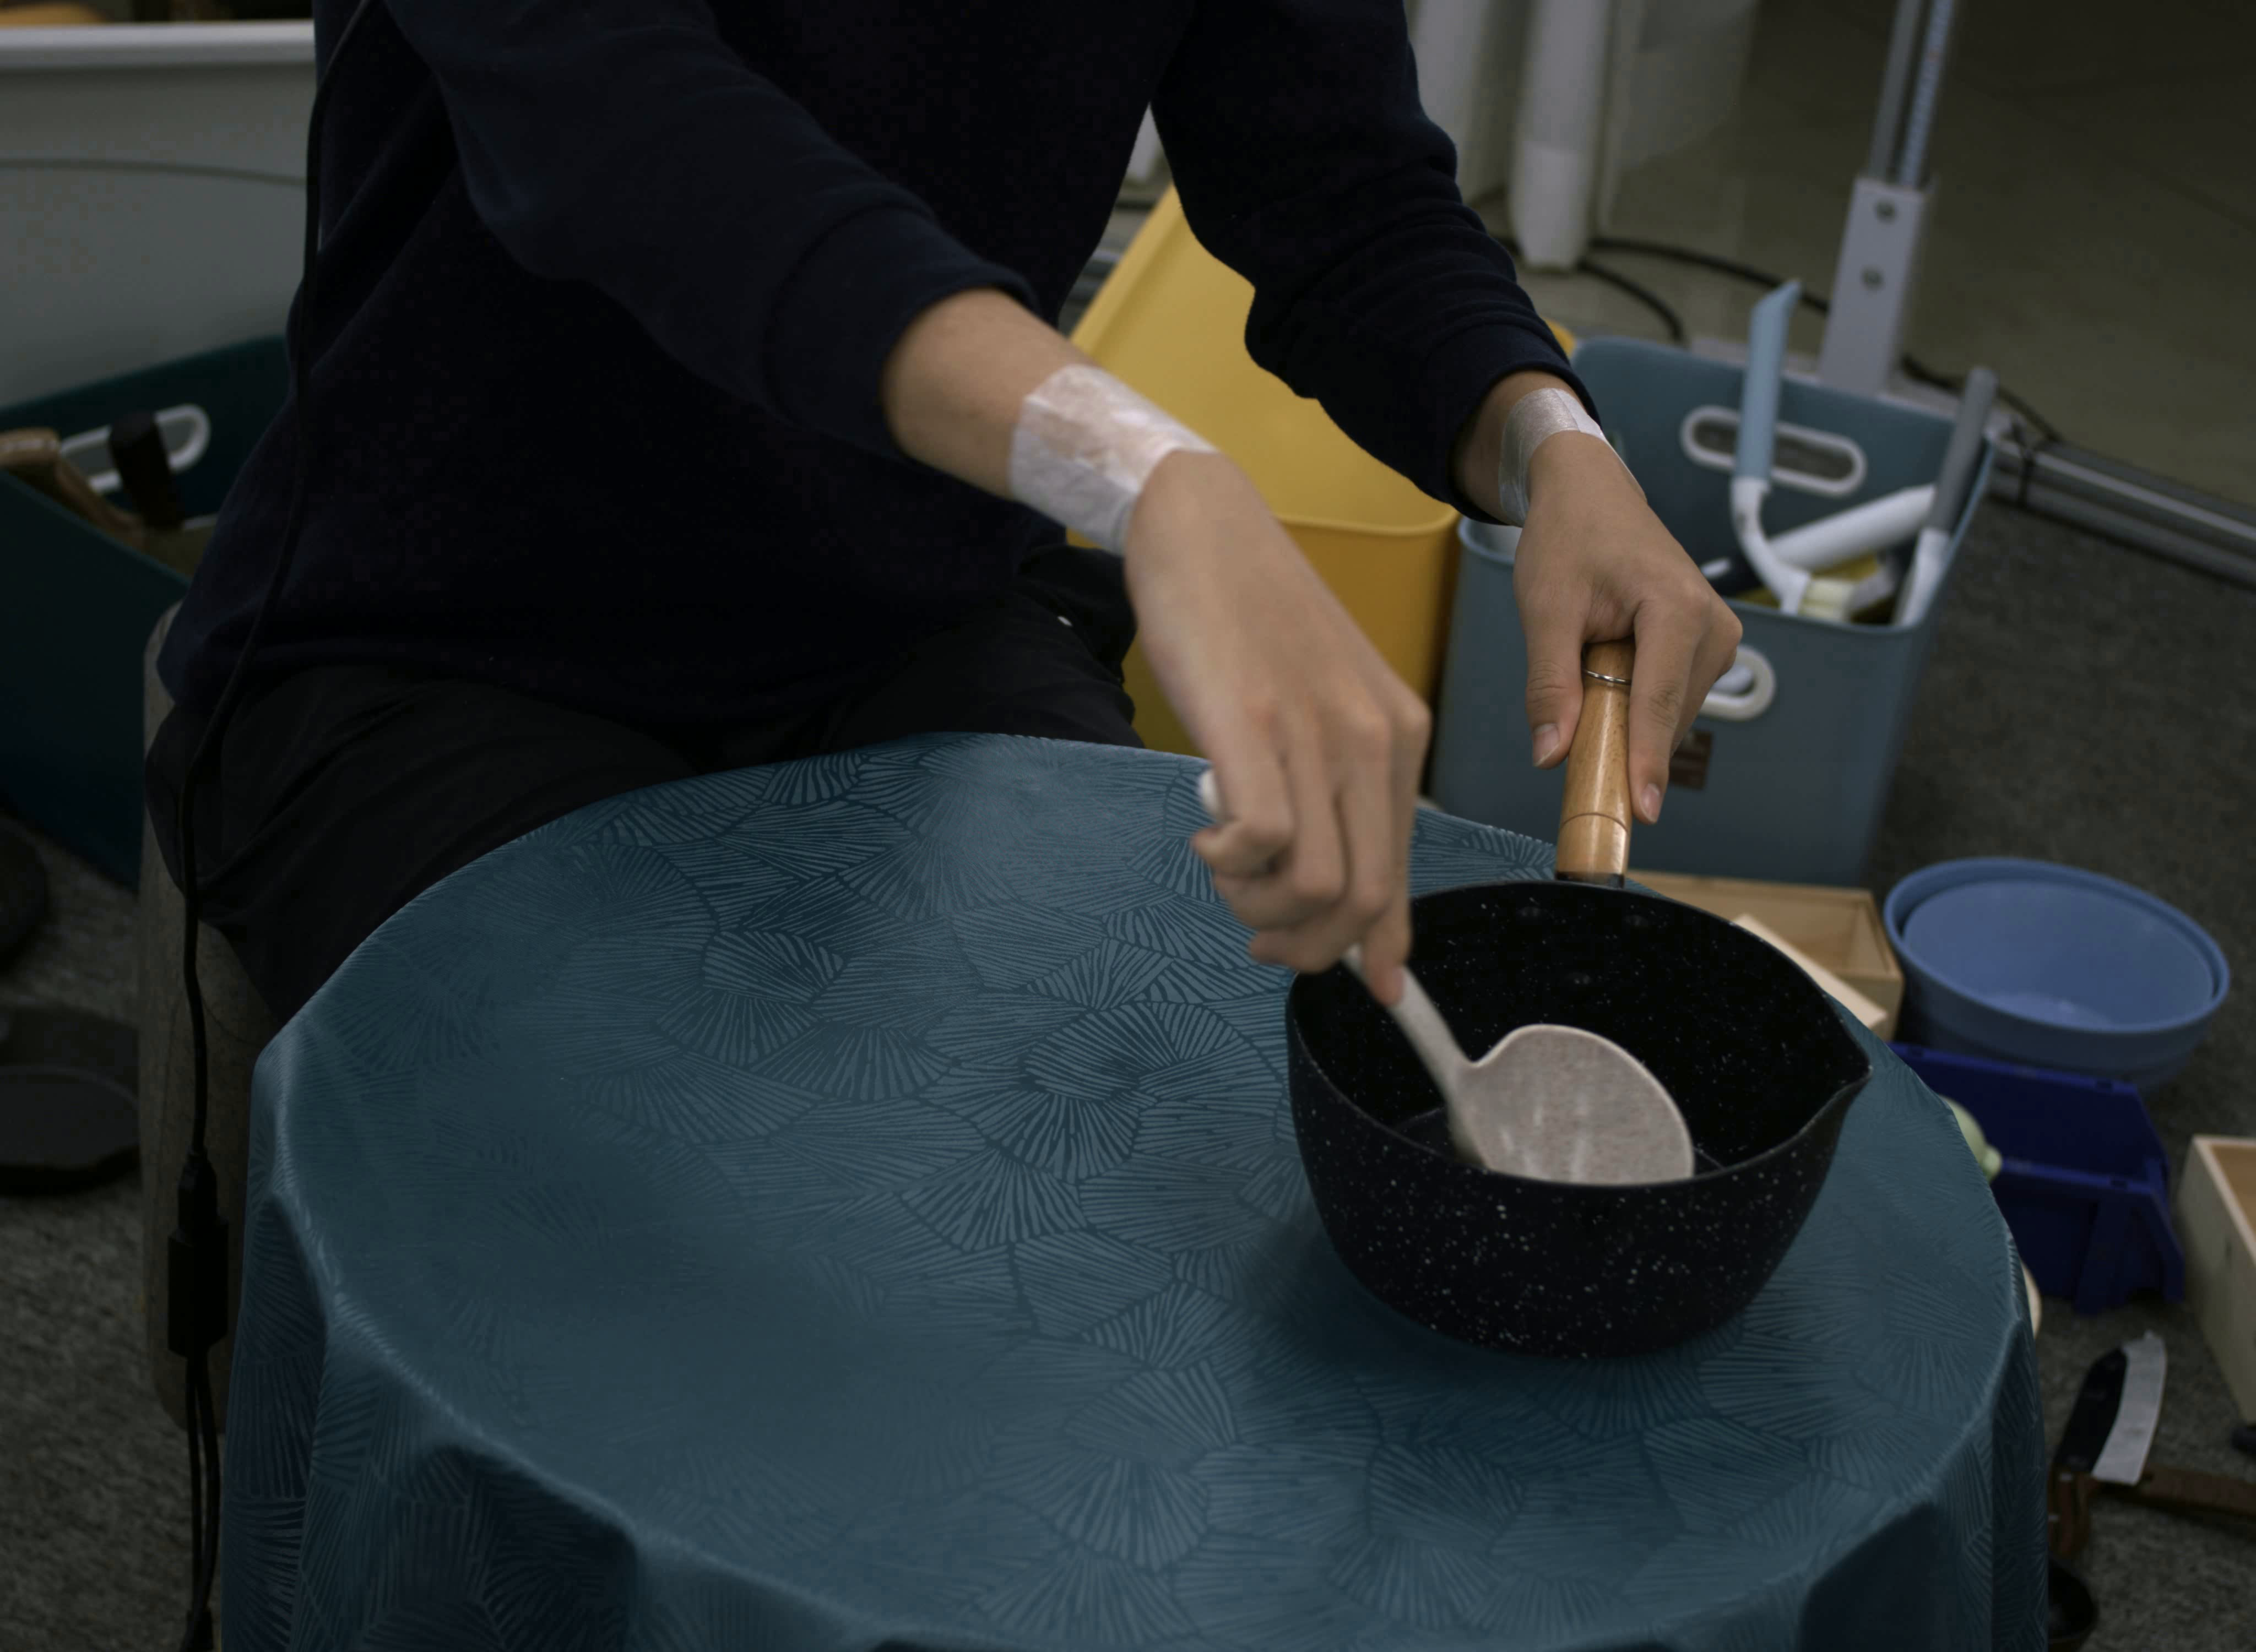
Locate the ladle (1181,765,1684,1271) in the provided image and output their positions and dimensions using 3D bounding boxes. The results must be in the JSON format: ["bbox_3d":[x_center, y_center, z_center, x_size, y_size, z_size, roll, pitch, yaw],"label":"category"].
[{"bbox_3d":[0.099,0.050,1.638,0.069,0.272,0.090,-9,56,21],"label":"ladle"}]

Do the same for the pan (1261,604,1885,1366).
[{"bbox_3d":[0.154,0.051,1.836,0.207,0.108,0.345,5,32,5],"label":"pan"}]
